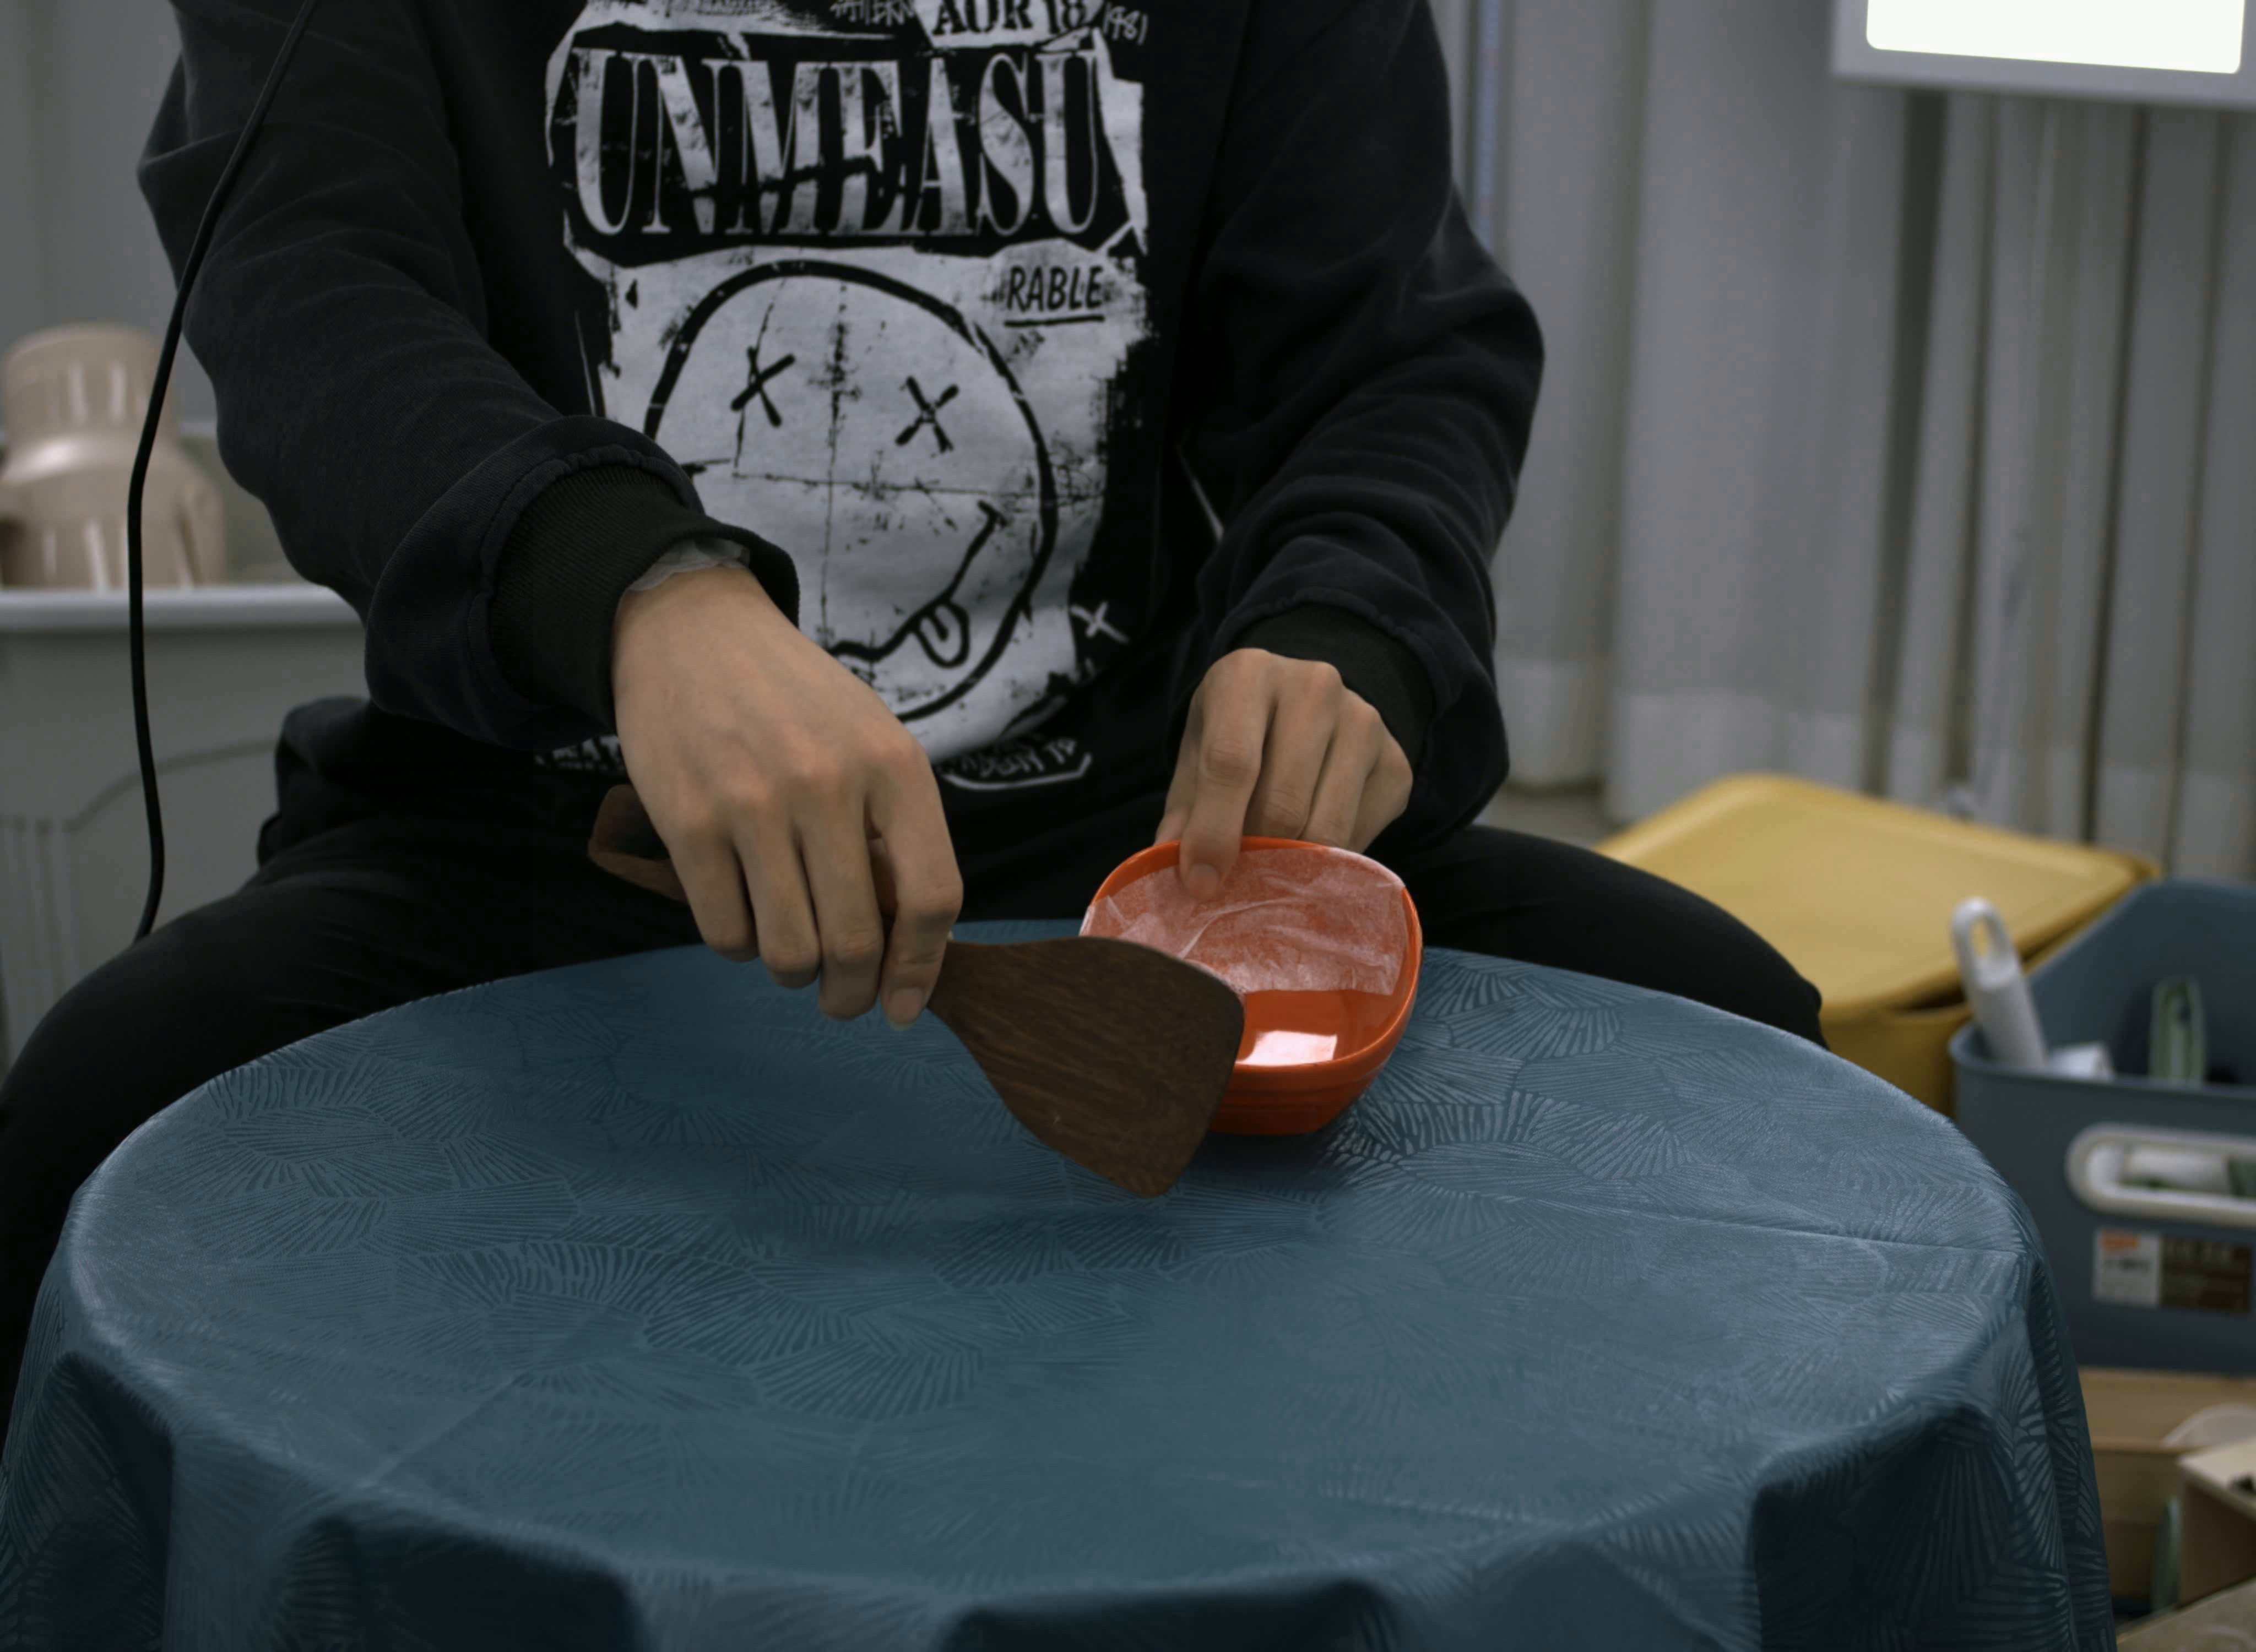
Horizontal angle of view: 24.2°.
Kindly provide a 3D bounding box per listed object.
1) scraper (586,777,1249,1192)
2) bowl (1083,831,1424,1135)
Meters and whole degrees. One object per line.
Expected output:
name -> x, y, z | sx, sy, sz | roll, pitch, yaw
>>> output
scraper -> -0.067, 0.039, 1.602 | 0.211, 0.076, 0.011 | 25, 12, 0
bowl -> 0.039, 0.057, 1.686 | 0.118, 0.052, 0.118 | 1, 43, -1
